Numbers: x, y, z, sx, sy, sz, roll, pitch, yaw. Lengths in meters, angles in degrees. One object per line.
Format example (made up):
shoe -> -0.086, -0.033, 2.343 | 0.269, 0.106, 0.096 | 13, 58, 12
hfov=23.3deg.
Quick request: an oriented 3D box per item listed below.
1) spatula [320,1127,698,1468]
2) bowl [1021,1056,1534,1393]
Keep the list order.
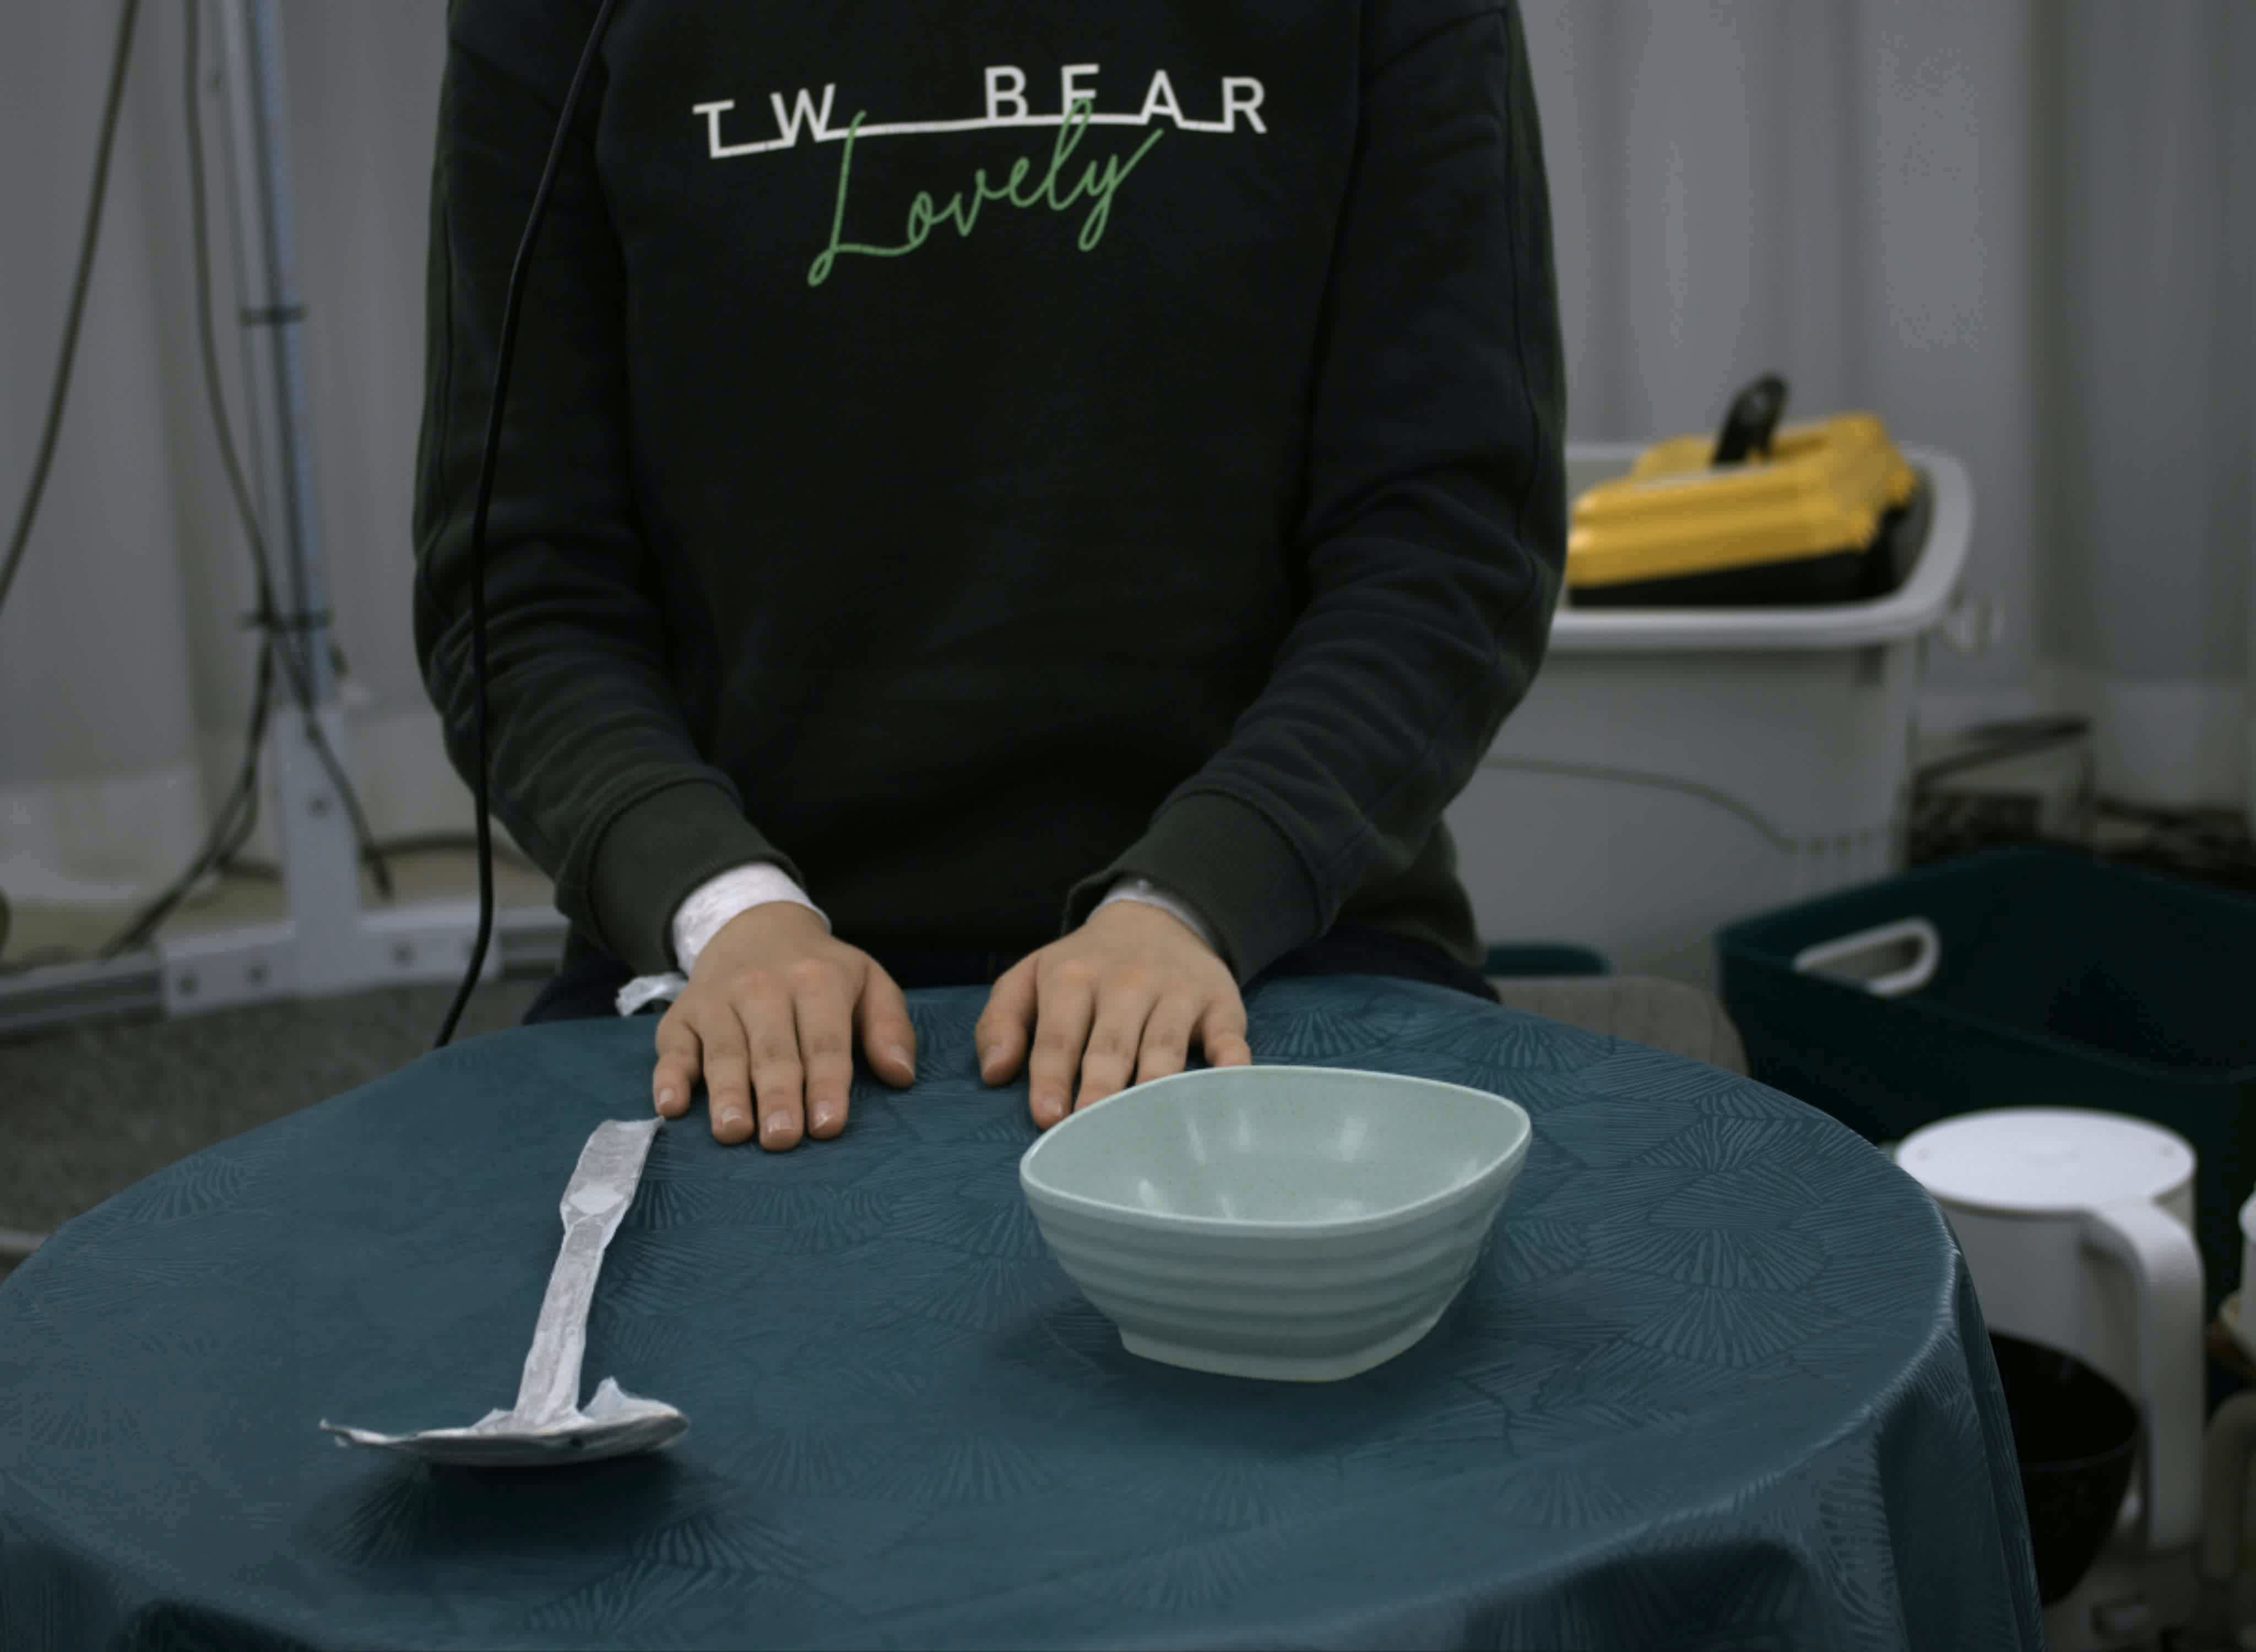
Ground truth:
spatula -> -0.160, 0.130, 1.612 | 0.098, 0.044, 0.367 | -4, 15, 3
bowl -> 0.044, 0.119, 1.583 | 0.151, 0.058, 0.152 | -1, 17, 0
